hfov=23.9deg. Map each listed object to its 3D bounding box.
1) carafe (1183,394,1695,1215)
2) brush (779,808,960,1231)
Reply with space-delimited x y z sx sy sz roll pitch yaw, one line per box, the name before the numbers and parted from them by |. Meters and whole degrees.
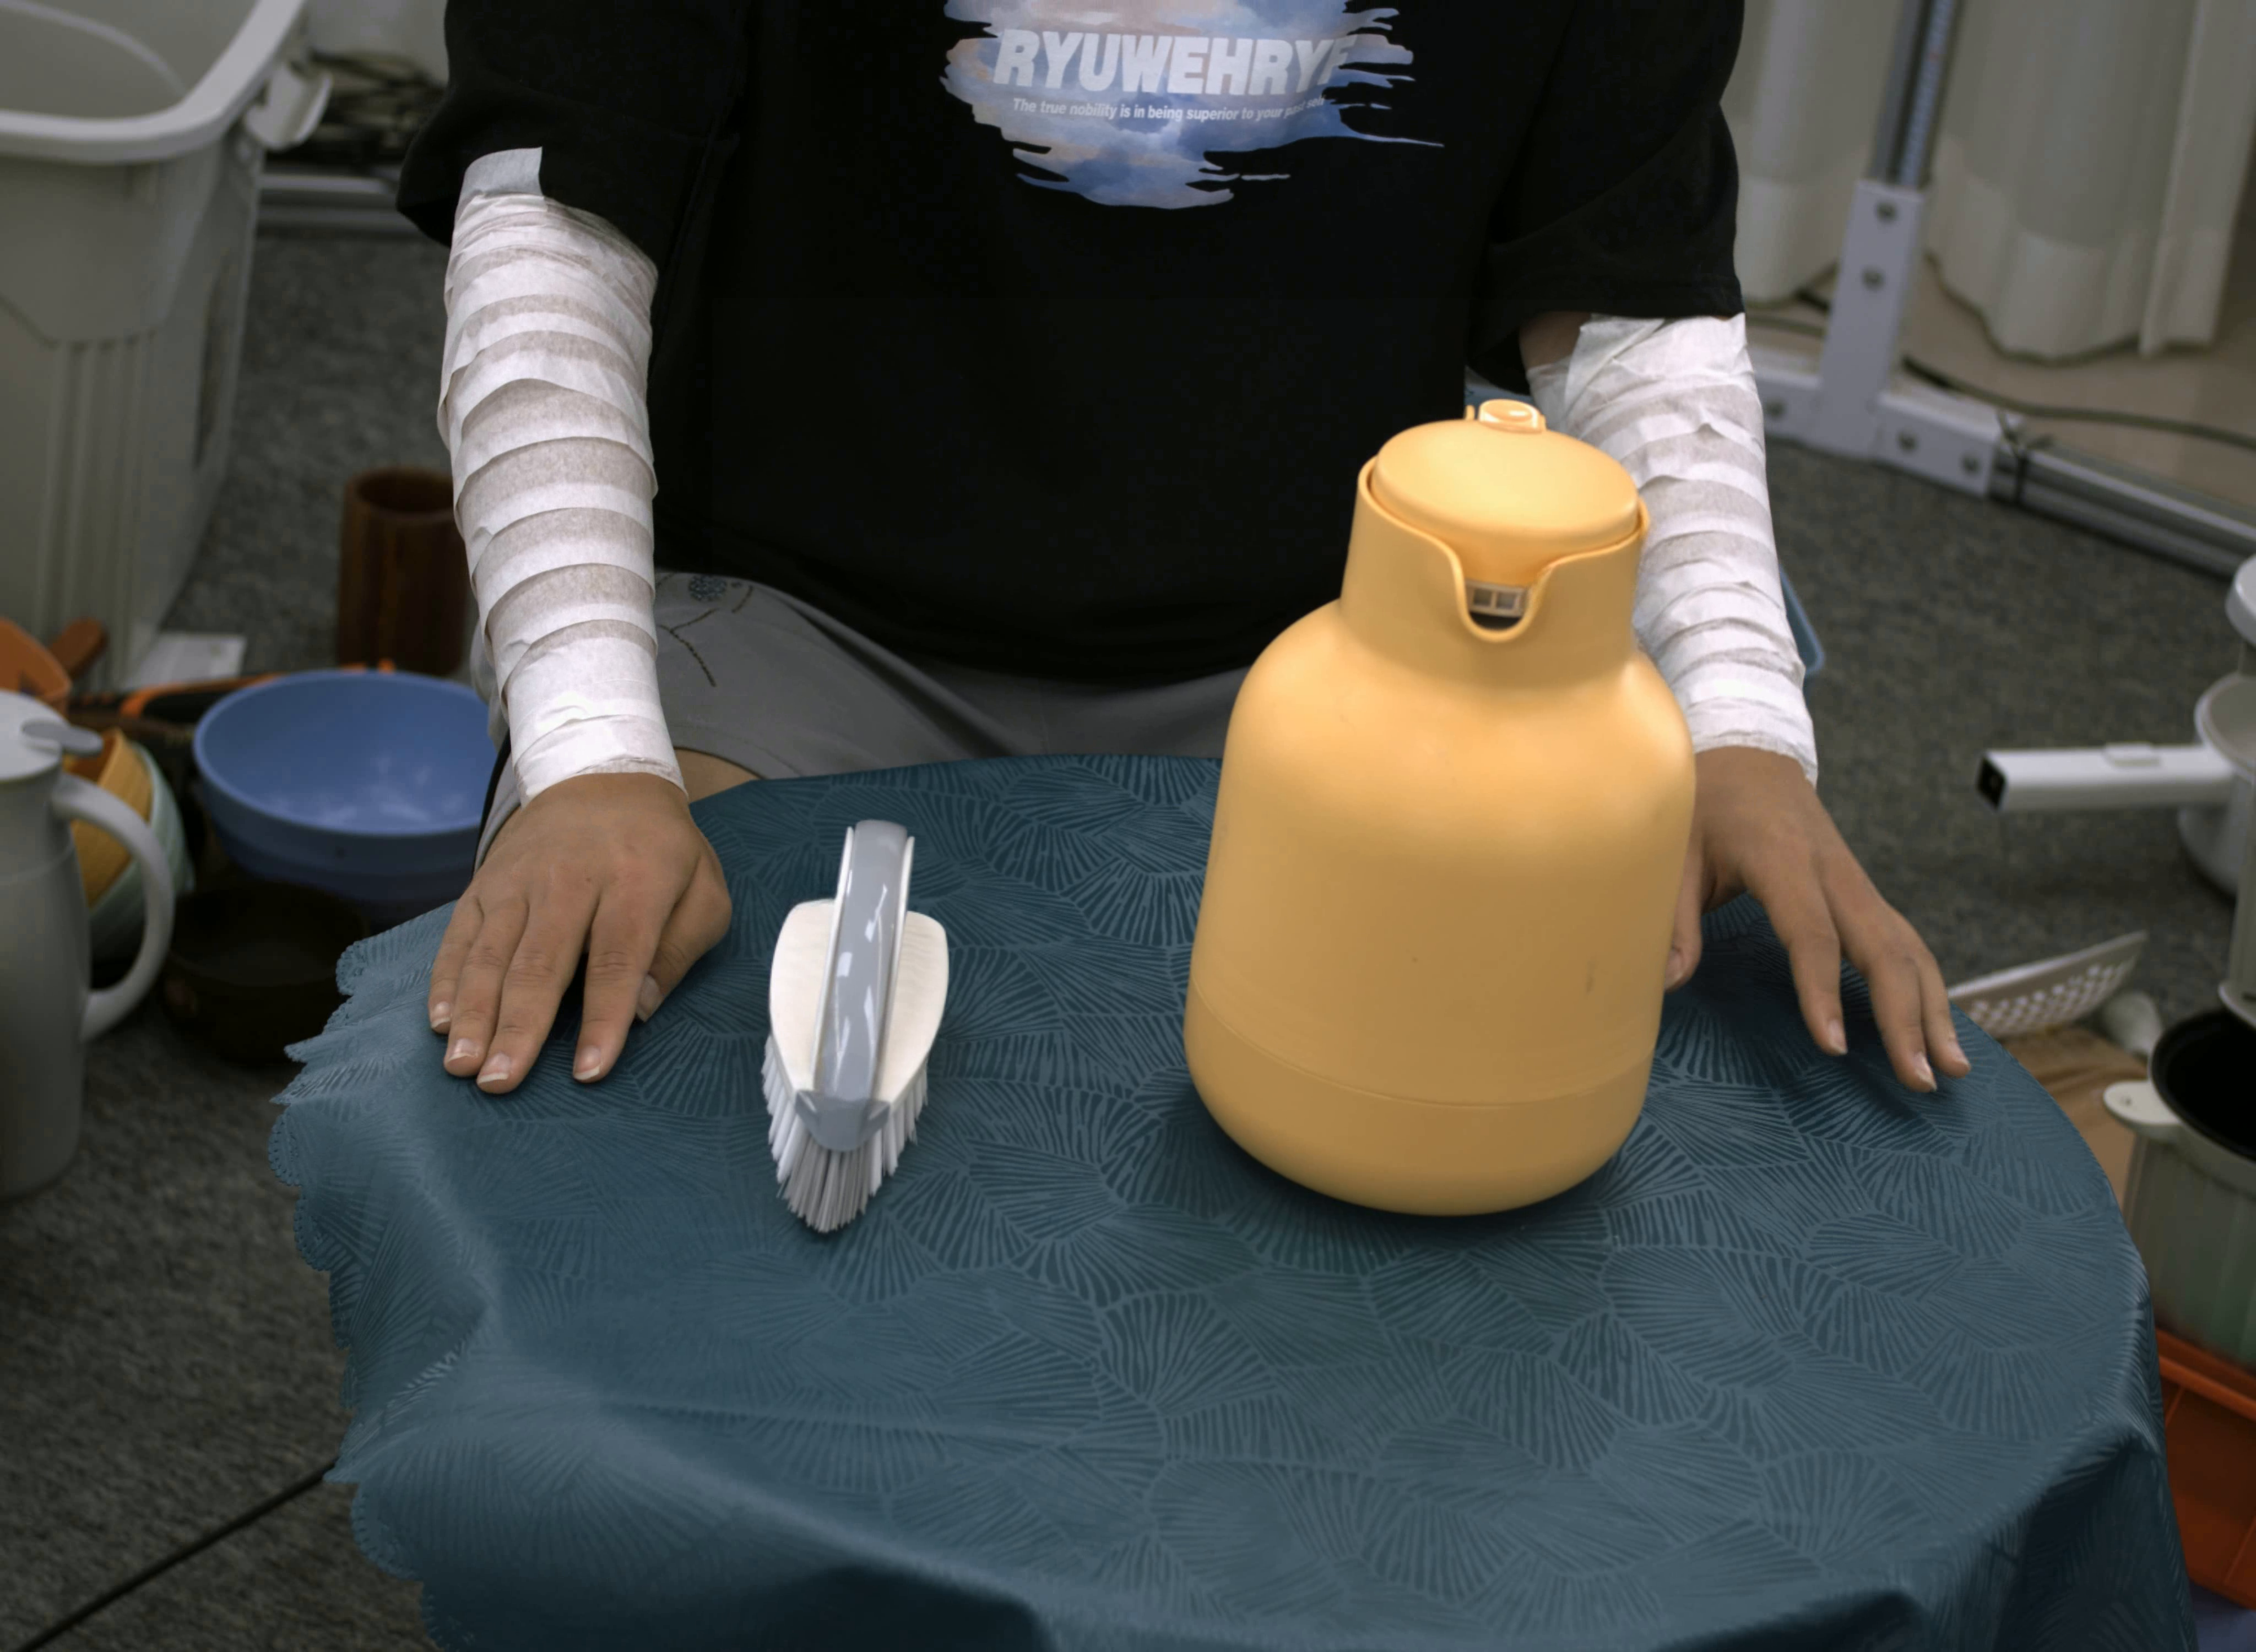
carafe | 0.114 -0.016 1.820 0.163 0.259 0.203 10 28 3
brush | -0.090 0.058 1.813 0.061 0.094 0.176 5 28 0
